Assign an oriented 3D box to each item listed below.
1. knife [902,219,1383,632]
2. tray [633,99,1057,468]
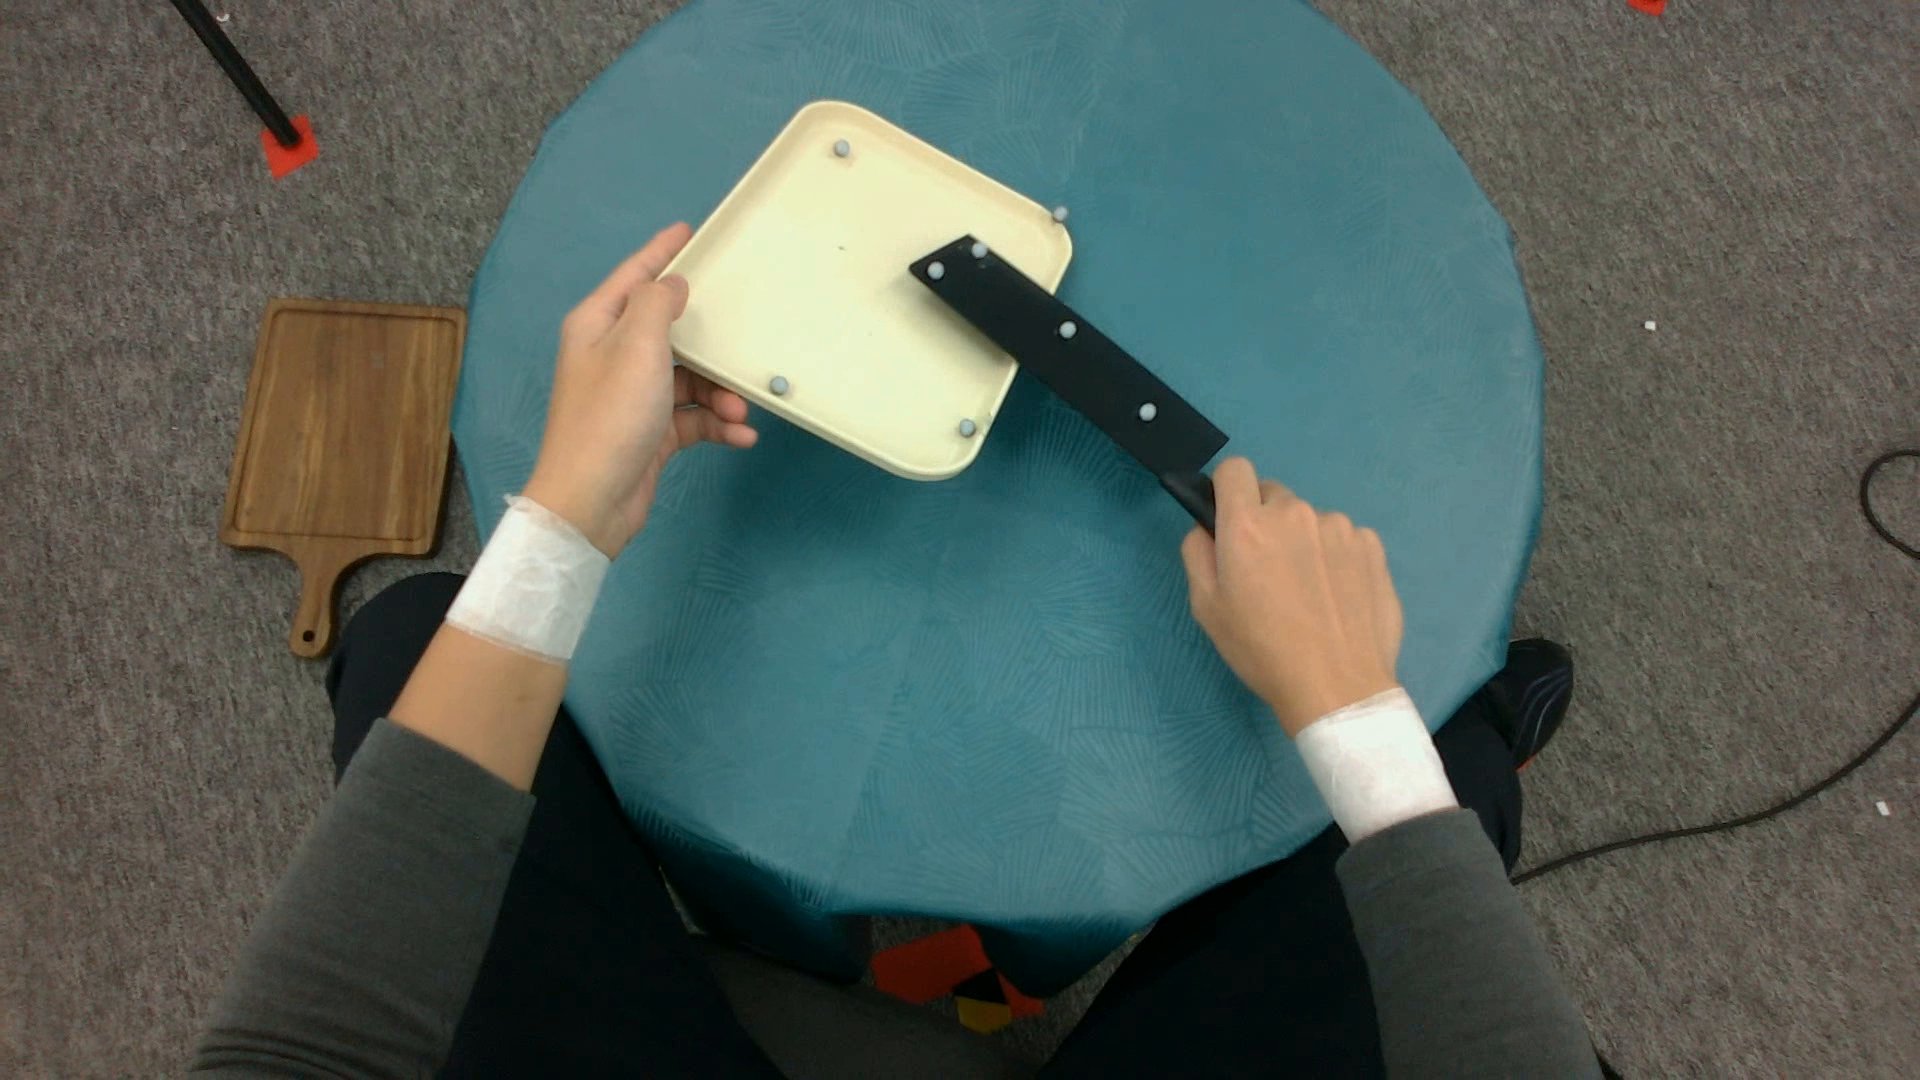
[{"bbox_3d":[0.093,-0.063,0.700,0.302,0.021,0.081,45,45,13],"label":"knife"},{"bbox_3d":[-0.050,-0.138,0.706,0.171,0.017,0.241,26,46,-3],"label":"tray"}]
